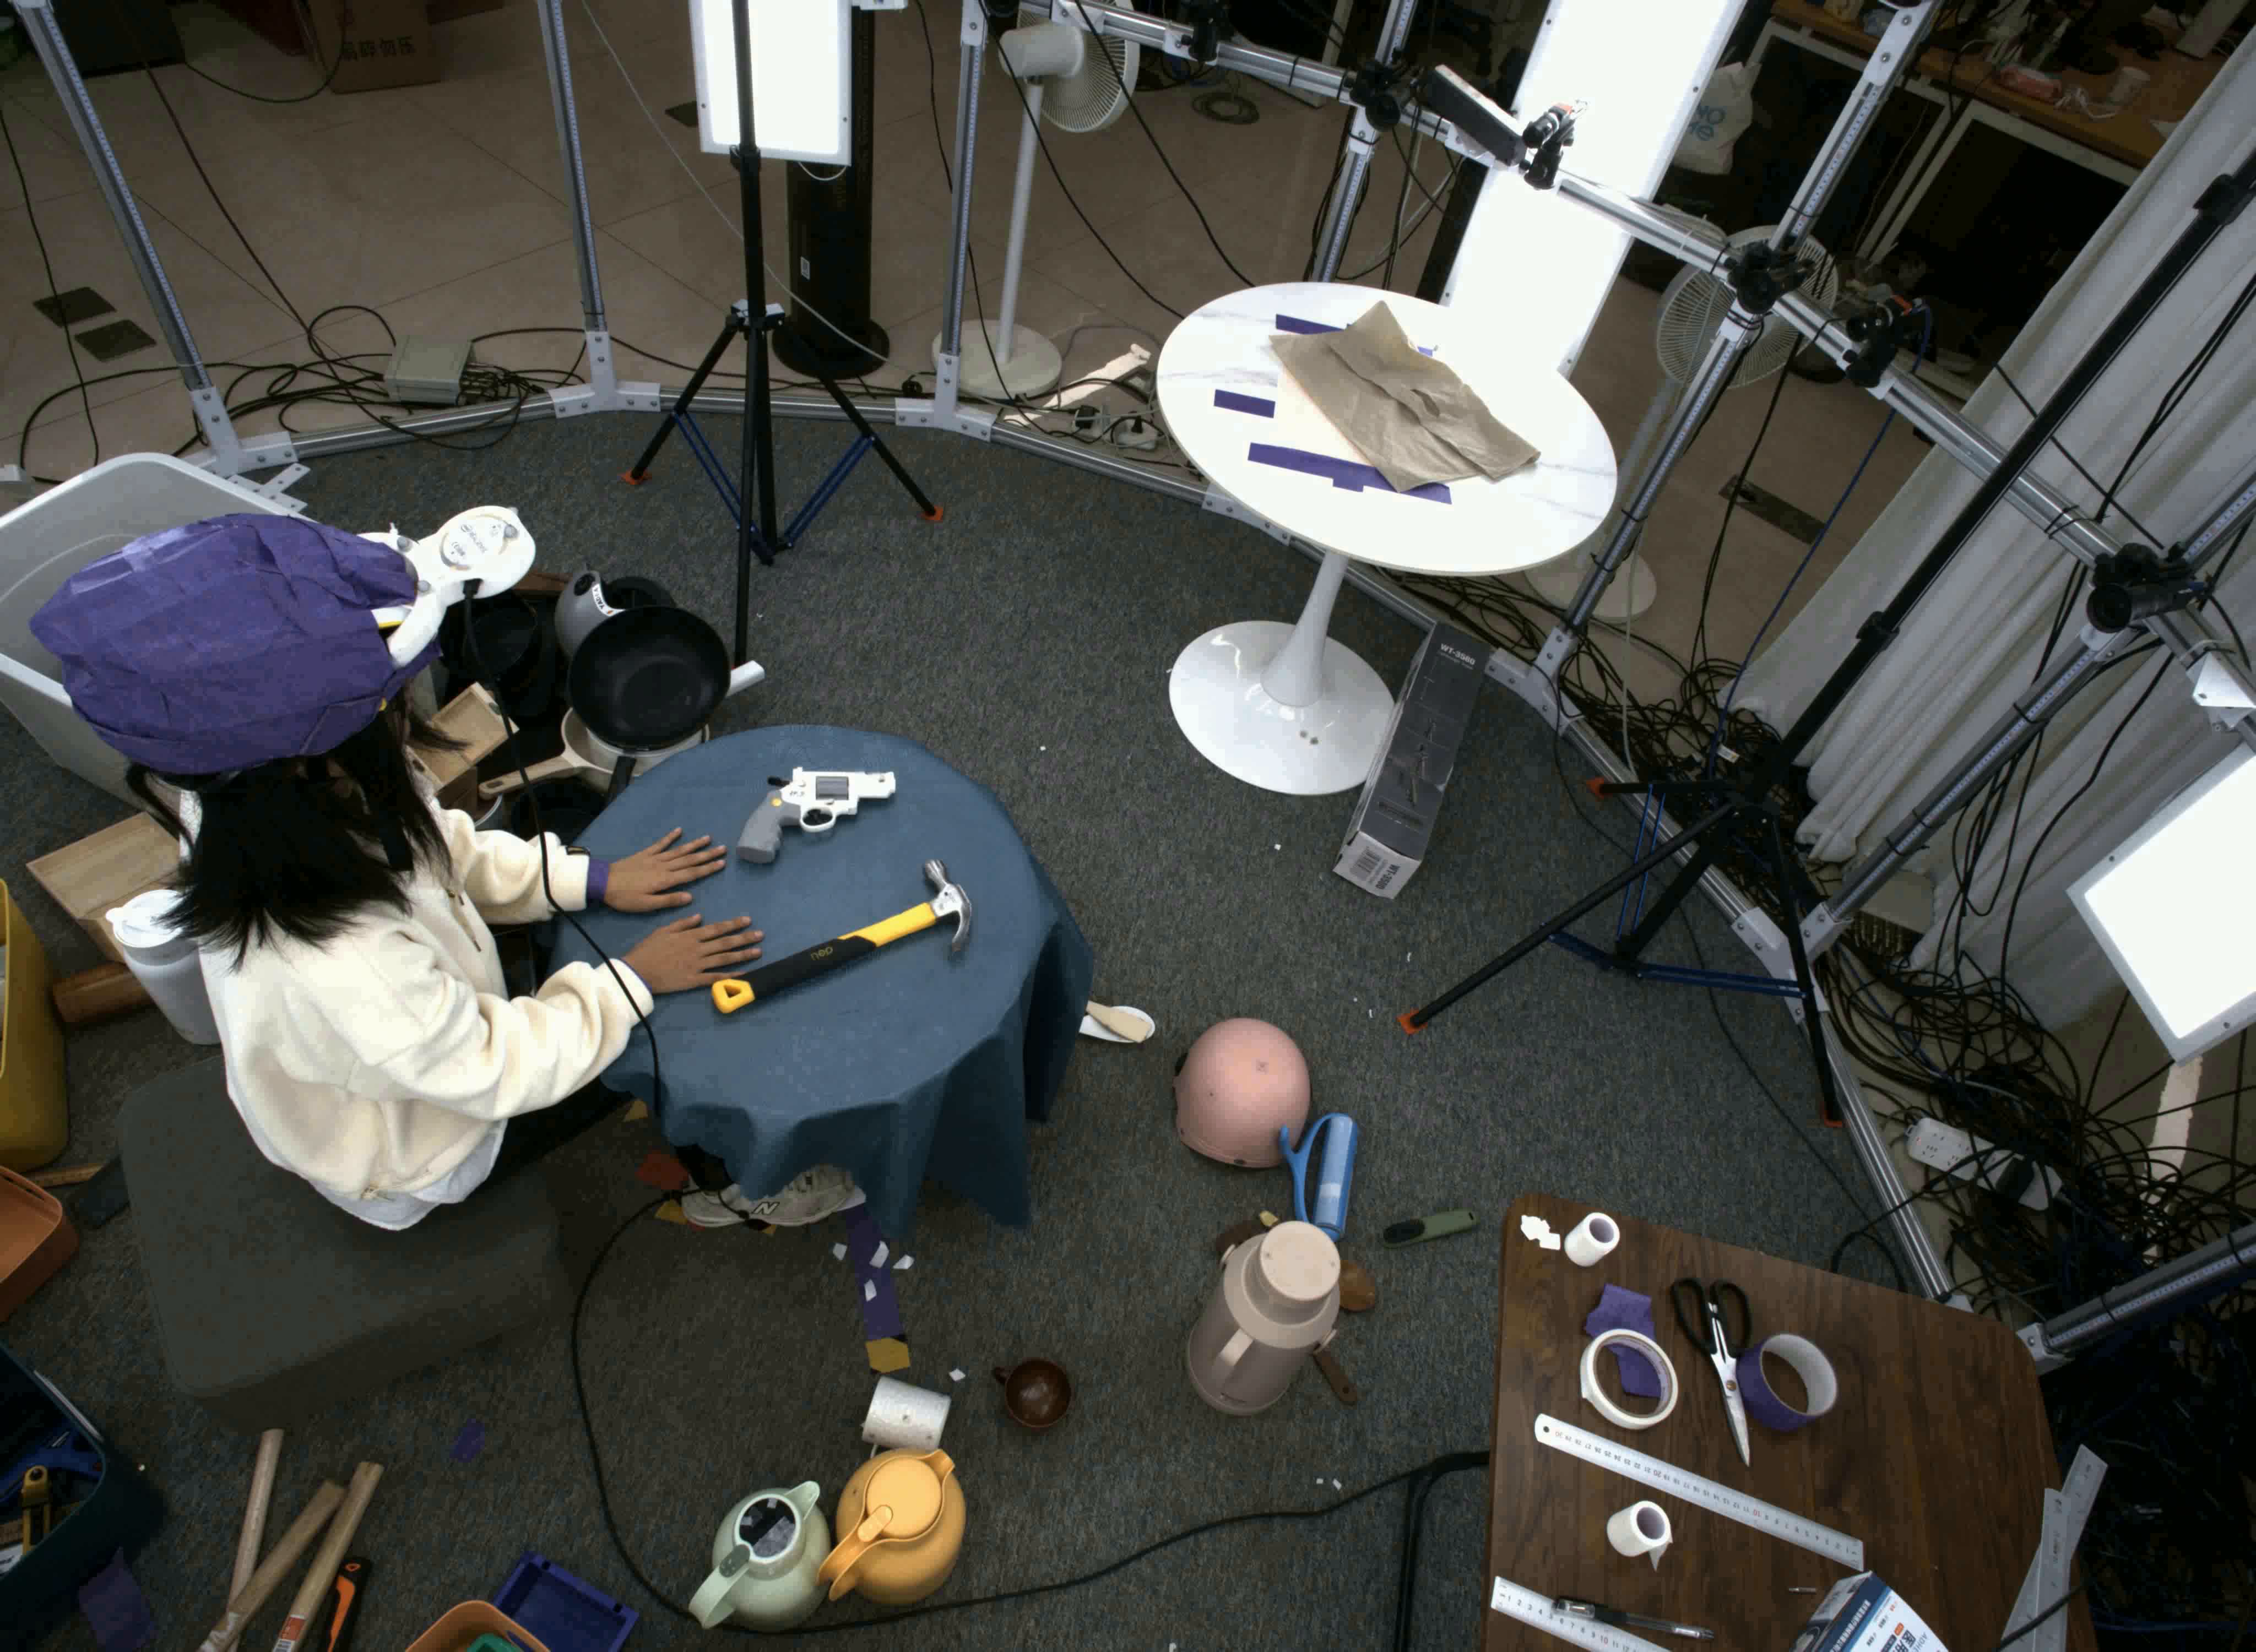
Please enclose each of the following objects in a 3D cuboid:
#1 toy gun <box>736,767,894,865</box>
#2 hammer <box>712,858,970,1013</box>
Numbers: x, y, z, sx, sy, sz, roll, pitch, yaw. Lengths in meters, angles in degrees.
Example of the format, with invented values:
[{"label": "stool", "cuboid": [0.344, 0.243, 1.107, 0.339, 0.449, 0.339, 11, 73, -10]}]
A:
[{"label": "toy gun", "cuboid": [-0.411, -0.020, 1.712, 0.210, 0.039, 0.138, -2, 54, -16]}, {"label": "hammer", "cuboid": [-0.349, 0.146, 1.604, 0.340, 0.033, 0.128, -22, 63, -30]}]
